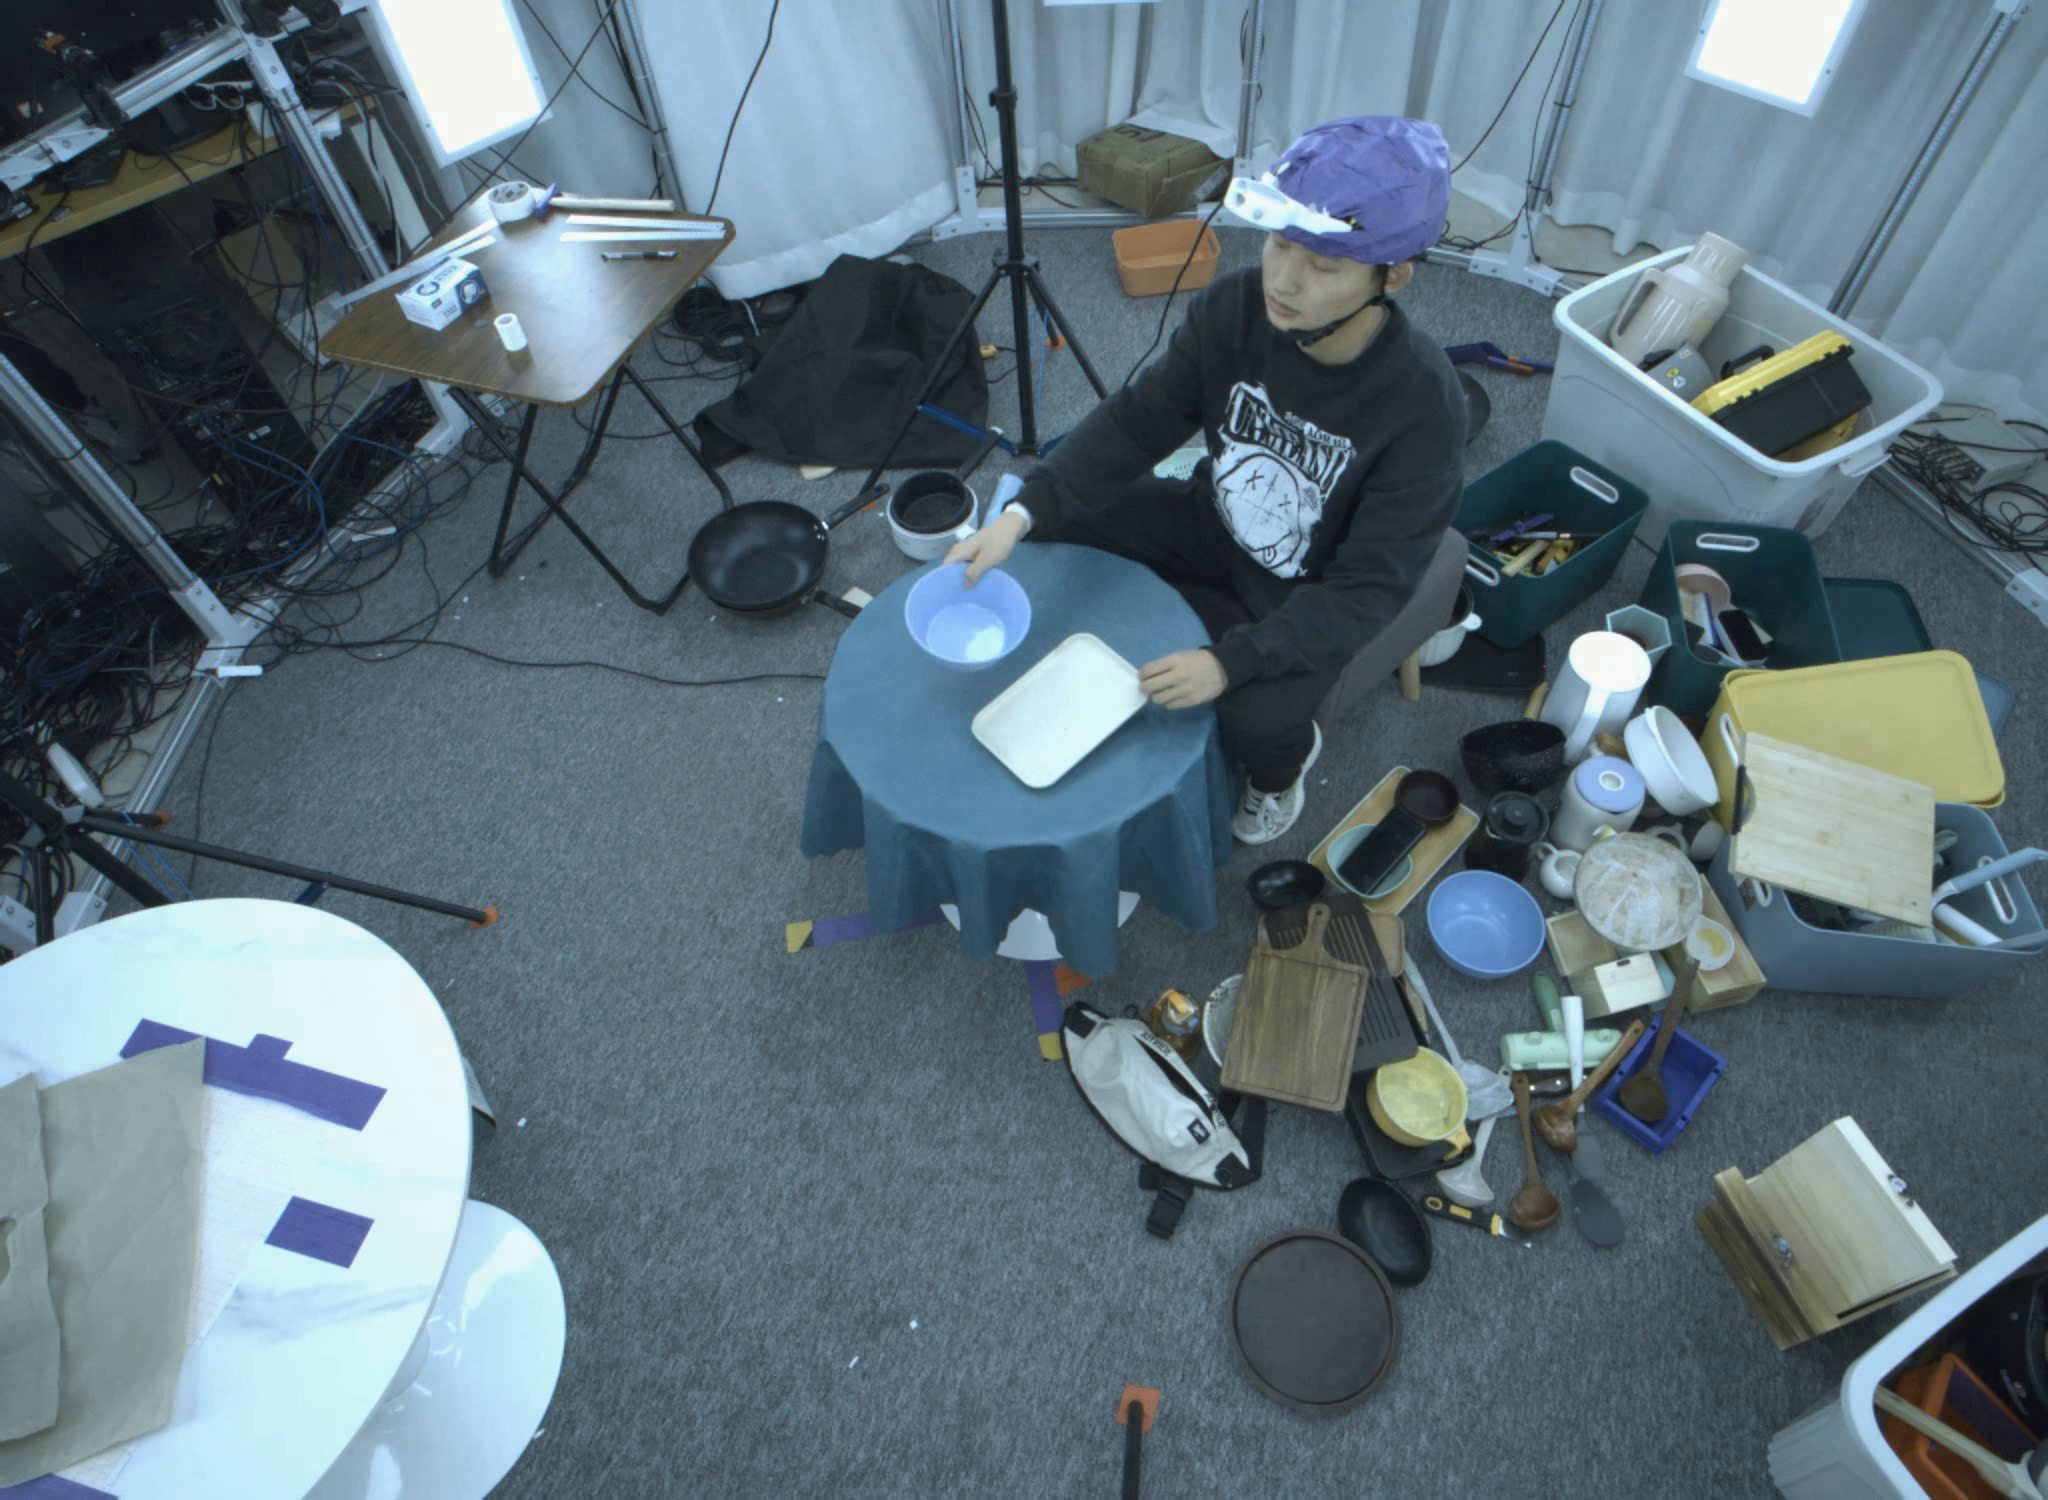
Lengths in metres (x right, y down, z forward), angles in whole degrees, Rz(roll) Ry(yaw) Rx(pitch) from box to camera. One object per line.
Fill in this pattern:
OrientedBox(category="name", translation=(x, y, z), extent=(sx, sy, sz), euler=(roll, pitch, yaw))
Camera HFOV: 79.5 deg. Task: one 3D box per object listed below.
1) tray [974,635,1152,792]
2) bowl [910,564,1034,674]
OrientedBox(category="tray", translation=(0.058, -0.055, 1.802), extent=(0.240, 0.018, 0.168), euler=(-41, 63, -12))
OrientedBox(category="bowl", translation=(-0.076, -0.174, 1.744), extent=(0.177, 0.070, 0.174), euler=(4, 62, -6))
